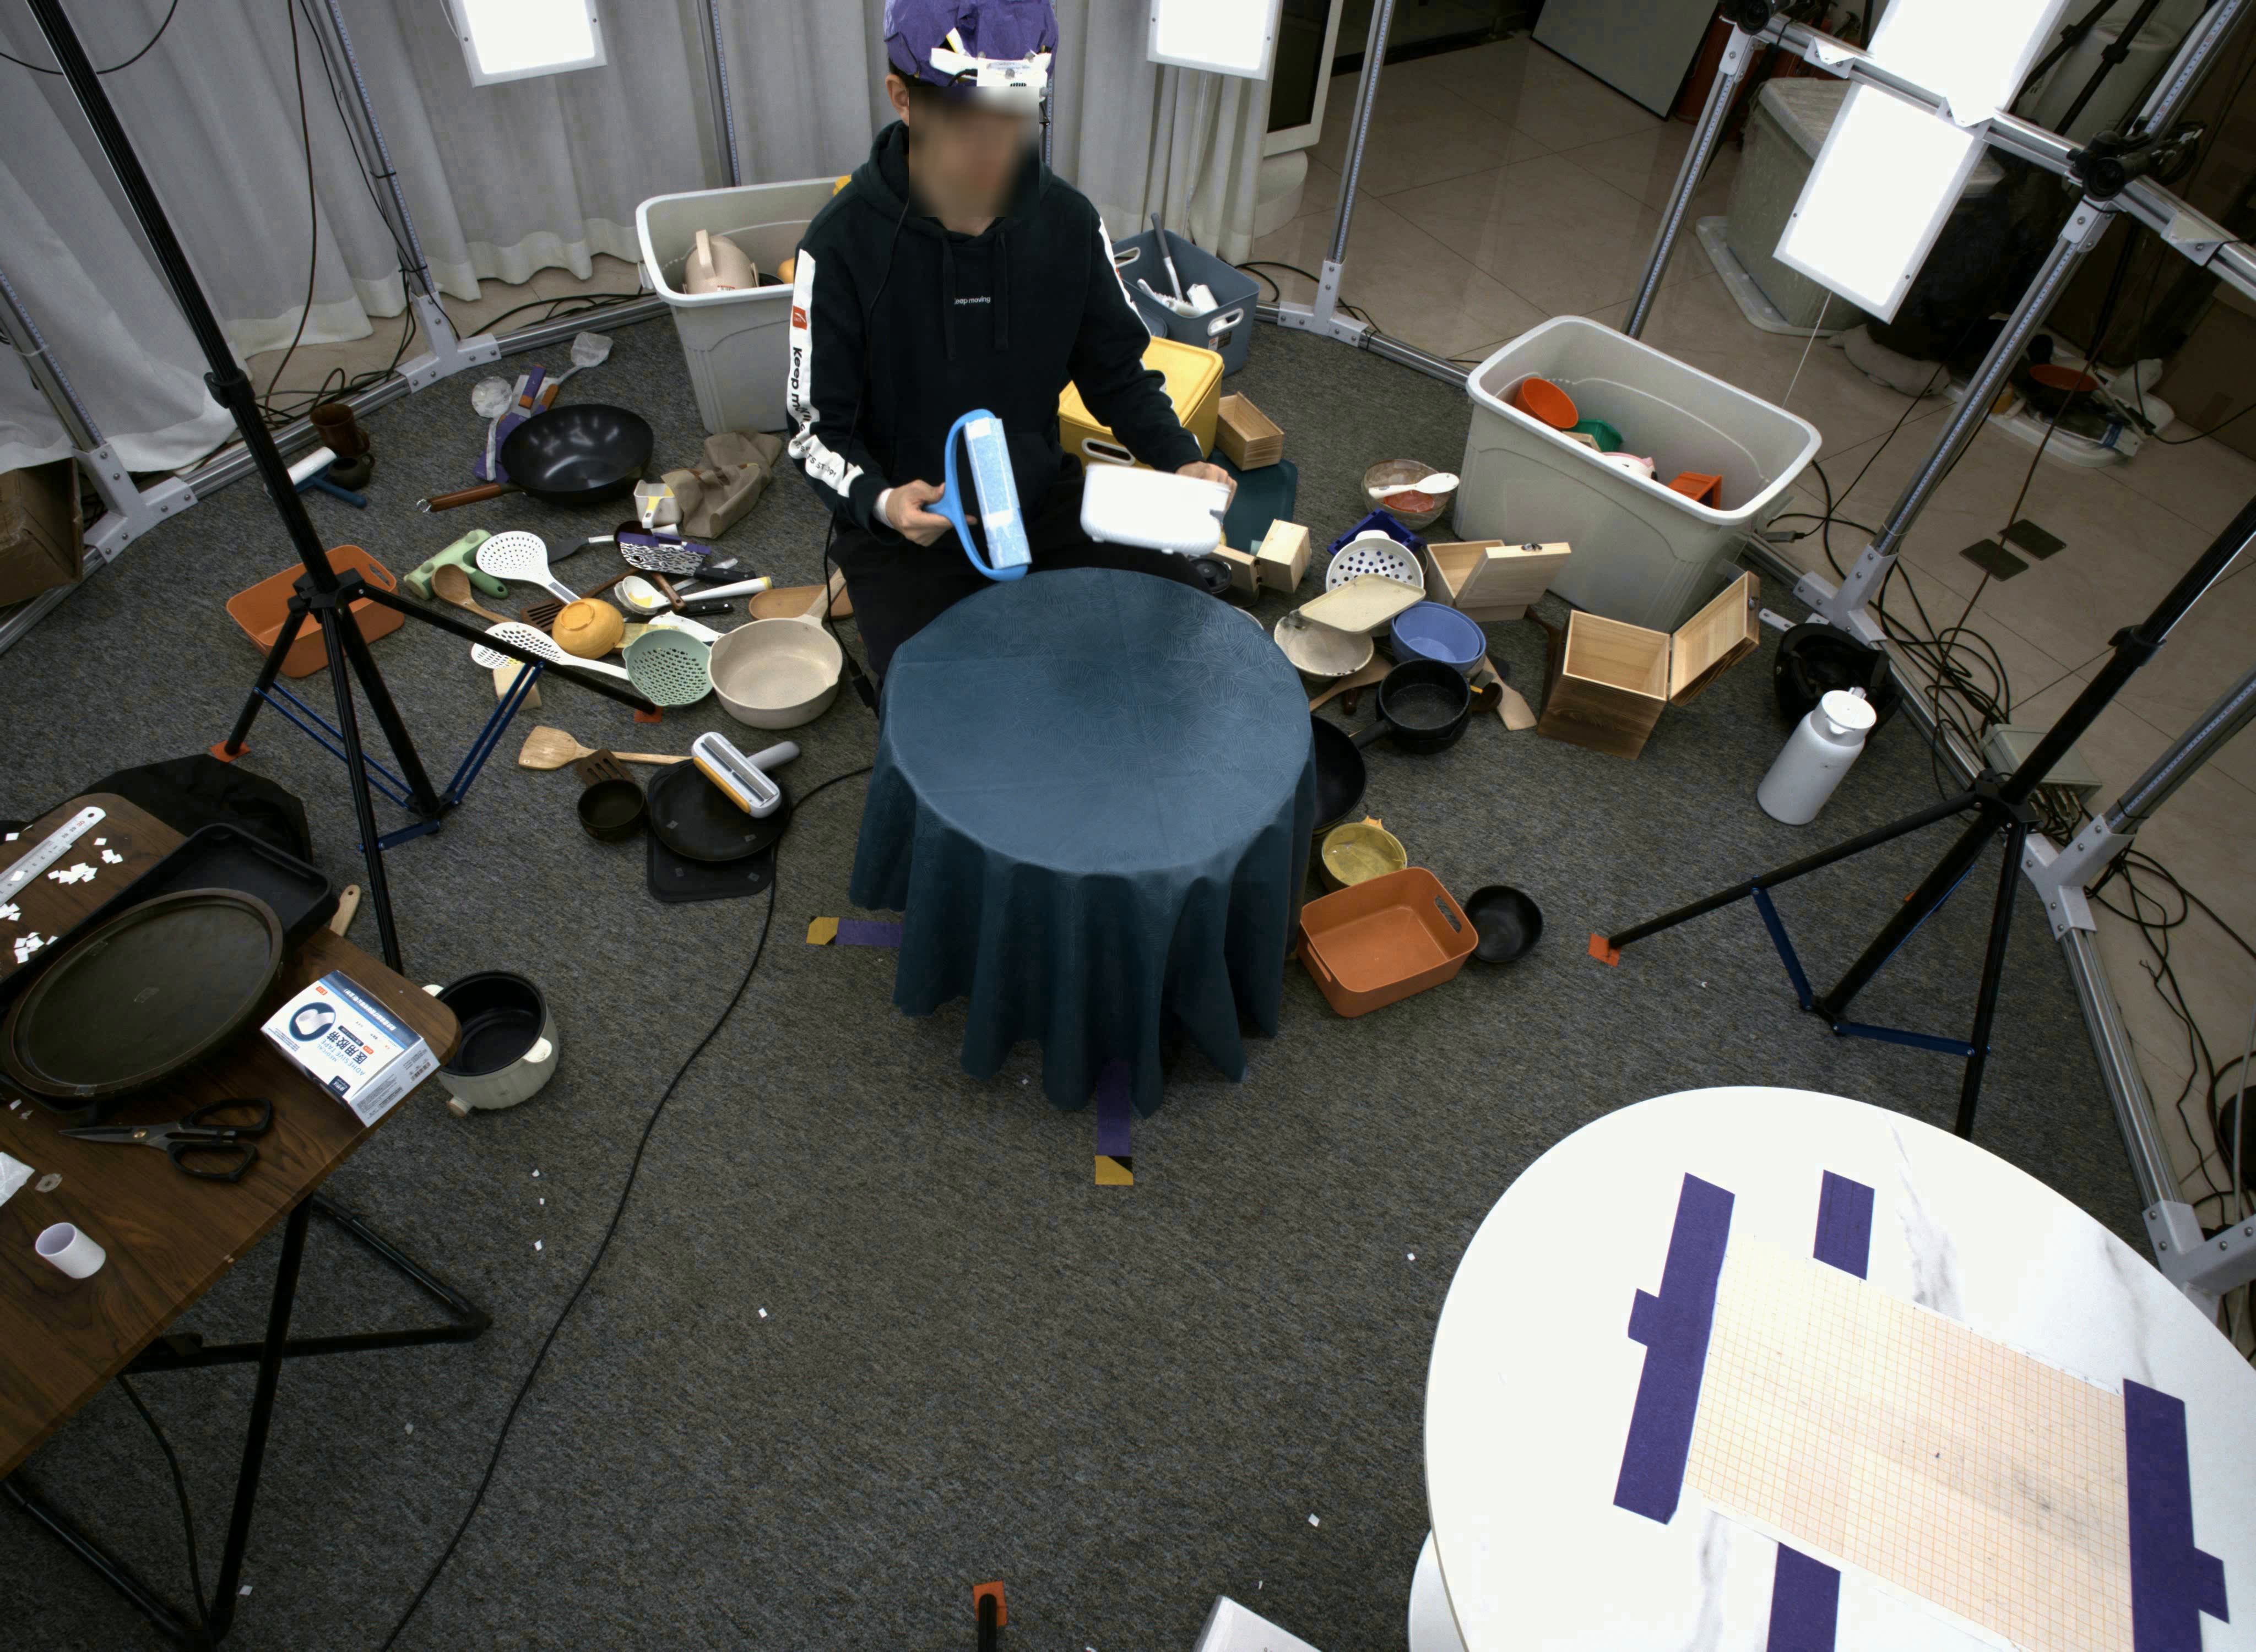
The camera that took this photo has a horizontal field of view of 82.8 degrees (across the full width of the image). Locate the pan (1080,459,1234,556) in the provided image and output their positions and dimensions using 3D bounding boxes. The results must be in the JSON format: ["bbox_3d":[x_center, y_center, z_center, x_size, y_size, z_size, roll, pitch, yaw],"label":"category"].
[{"bbox_3d":[0.065,-0.441,1.832,0.202,0.101,0.355,14,12,22],"label":"pan"}]

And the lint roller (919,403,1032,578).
[{"bbox_3d":[-0.226,-0.436,1.750,0.180,0.228,0.068,-11,7,31],"label":"lint roller"}]
